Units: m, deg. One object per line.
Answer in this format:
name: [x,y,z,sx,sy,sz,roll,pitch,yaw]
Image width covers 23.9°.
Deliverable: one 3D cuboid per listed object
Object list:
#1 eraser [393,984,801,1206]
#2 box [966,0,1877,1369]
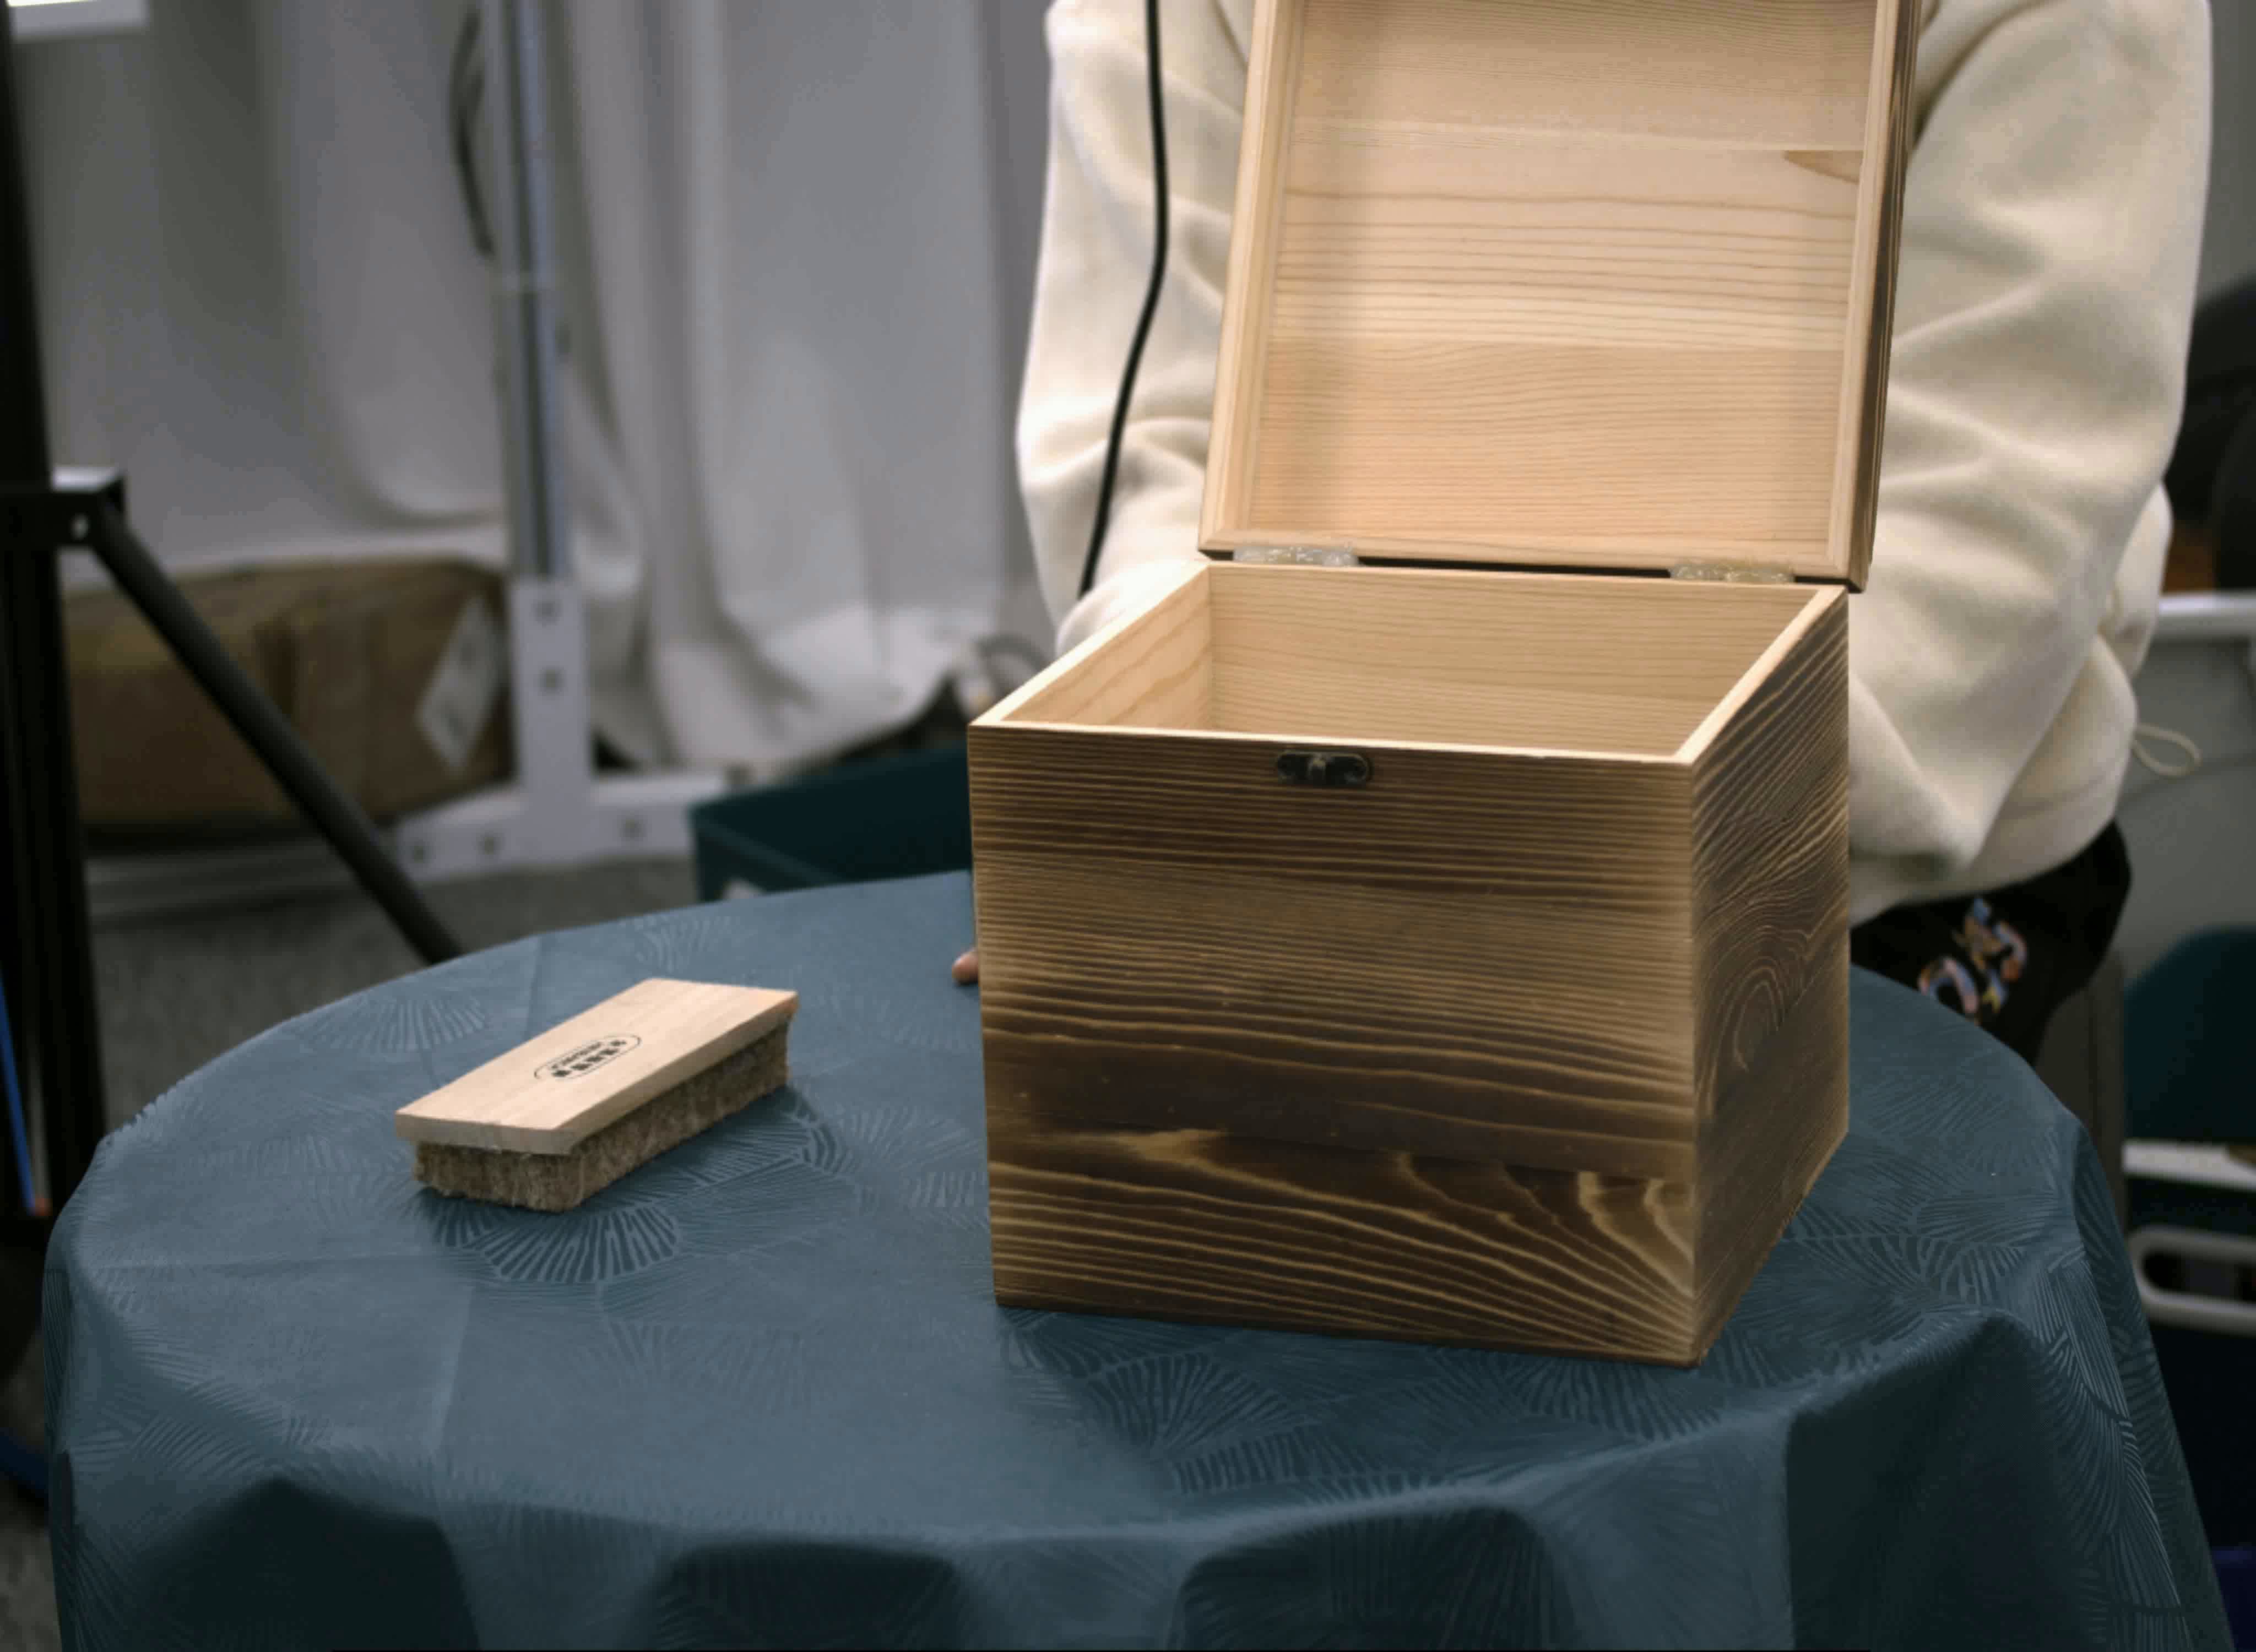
eraser: [-0.159,0.081,1.627,0.058,0.029,0.137,4,16,31]
box: [0.096,-0.076,1.524,0.211,0.375,0.318,2,16,19]
